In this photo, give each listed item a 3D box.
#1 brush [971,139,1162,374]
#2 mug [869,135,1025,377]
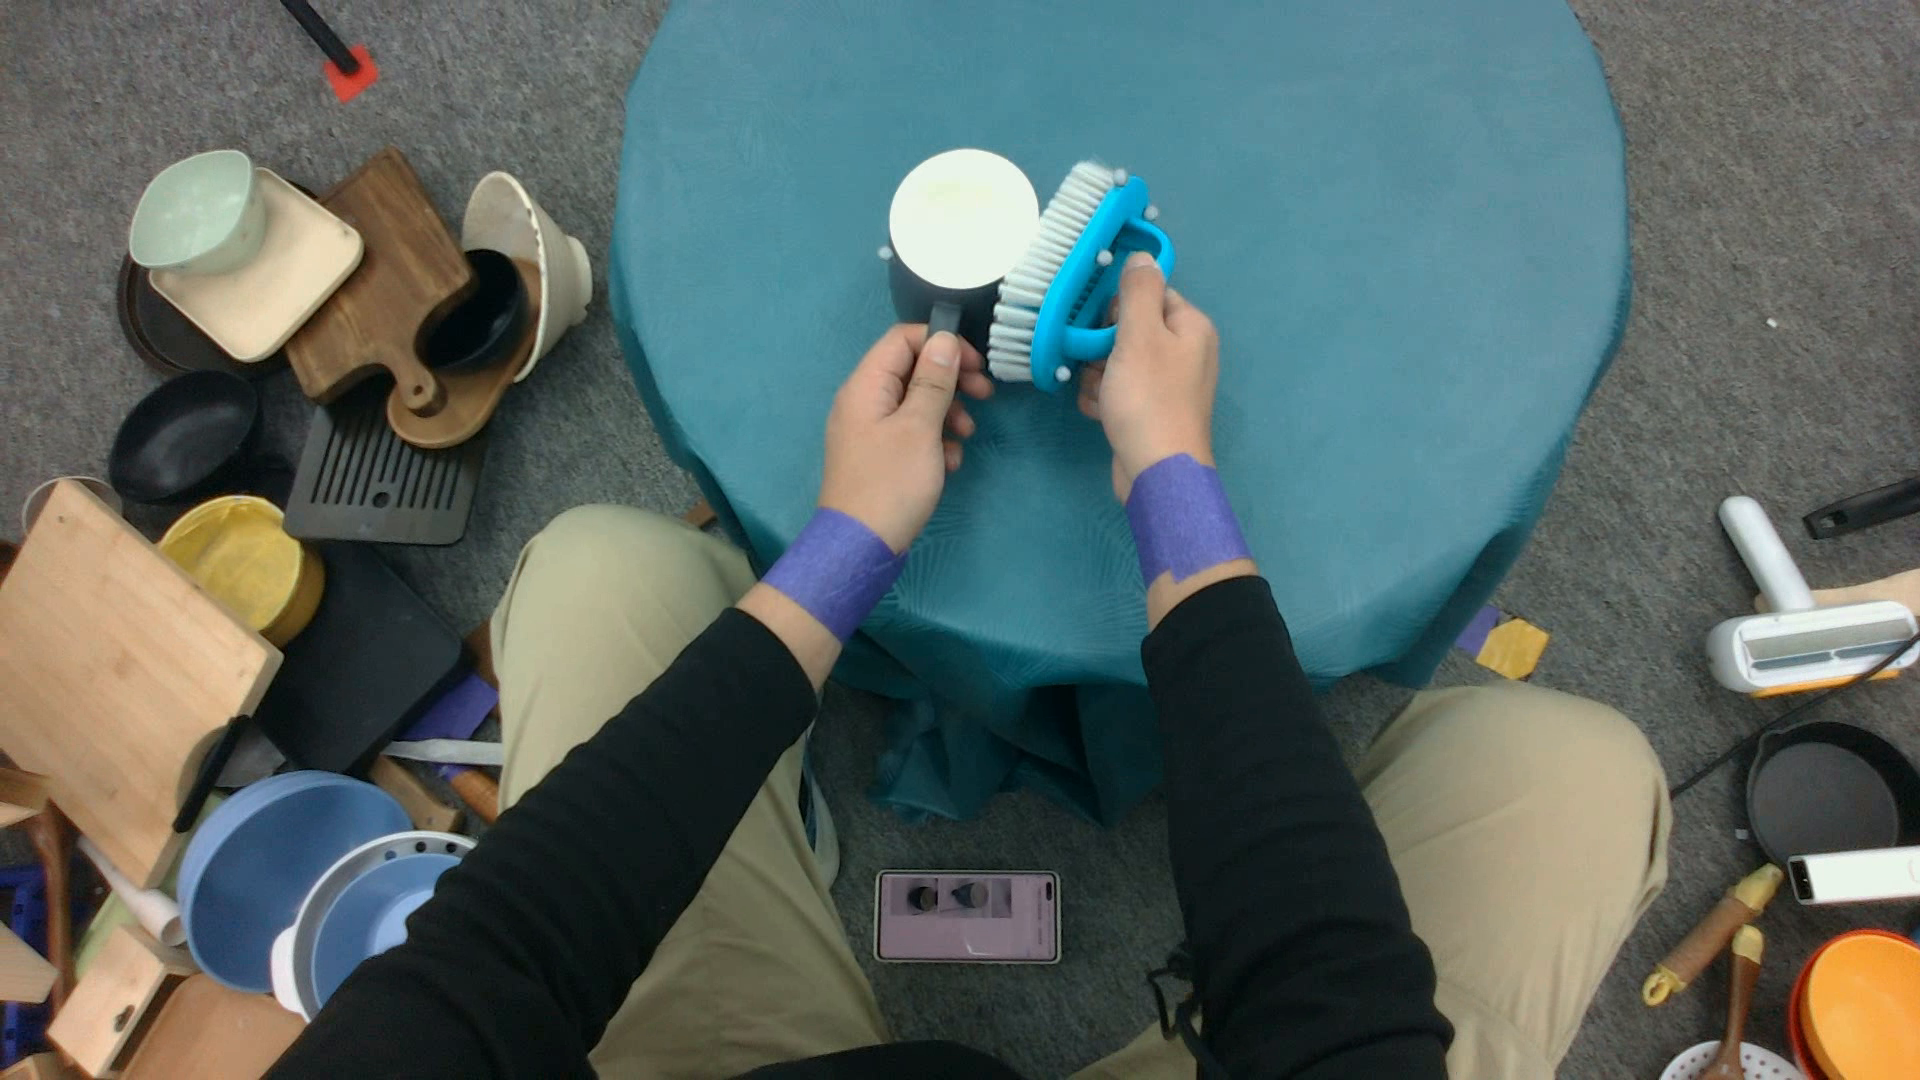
[{"bbox_3d":[0.065,-0.144,0.726,0.064,0.084,0.142,23,59,17],"label":"brush"},{"bbox_3d":[-0.009,-0.150,0.754,0.093,0.089,0.123,12,74,6],"label":"mug"}]
